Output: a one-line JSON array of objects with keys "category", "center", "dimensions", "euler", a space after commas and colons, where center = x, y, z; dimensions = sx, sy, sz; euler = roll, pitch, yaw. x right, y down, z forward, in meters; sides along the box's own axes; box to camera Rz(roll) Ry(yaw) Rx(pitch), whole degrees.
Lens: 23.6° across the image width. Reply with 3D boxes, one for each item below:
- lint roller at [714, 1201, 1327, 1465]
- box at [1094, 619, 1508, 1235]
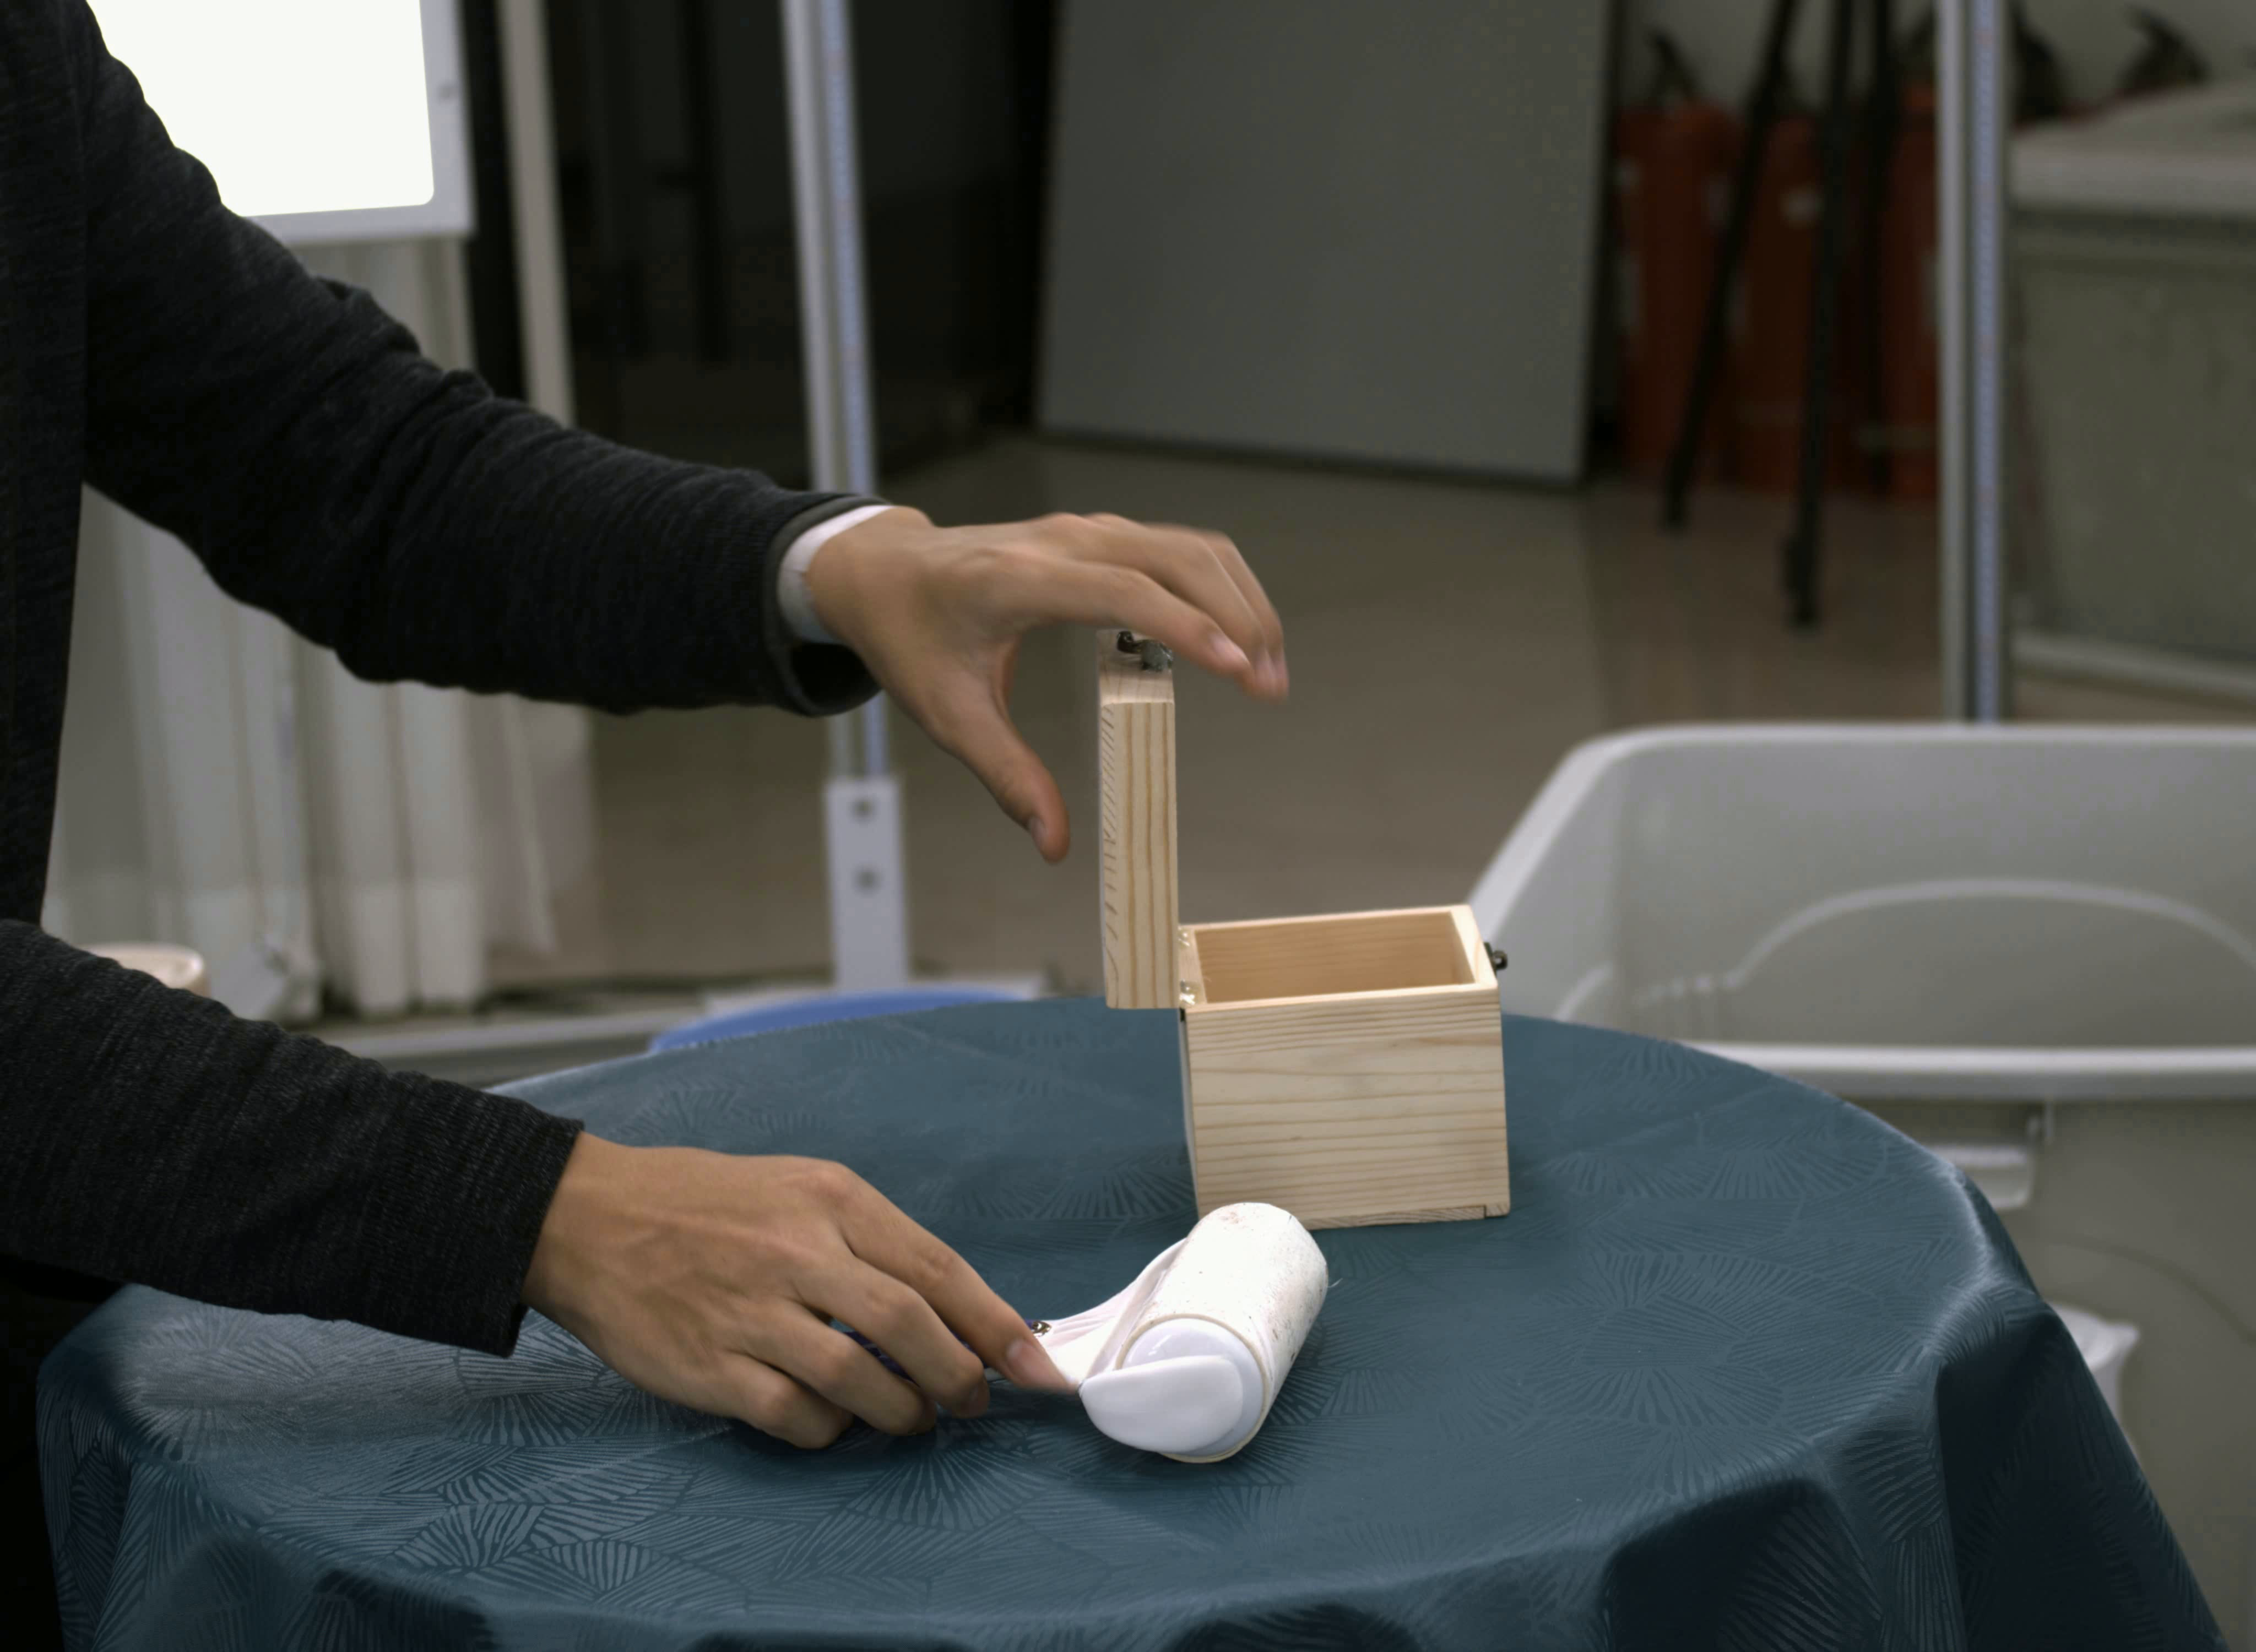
[{"category": "lint roller", "center": [-0.035, 0.145, 1.581], "dimensions": [0.180, 0.051, 0.132], "euler": [2, 16, 15]}, {"category": "box", "center": [0.056, 0.028, 1.745], "dimensions": [0.132, 0.186, 0.103], "euler": [-4, 13, 0]}]
